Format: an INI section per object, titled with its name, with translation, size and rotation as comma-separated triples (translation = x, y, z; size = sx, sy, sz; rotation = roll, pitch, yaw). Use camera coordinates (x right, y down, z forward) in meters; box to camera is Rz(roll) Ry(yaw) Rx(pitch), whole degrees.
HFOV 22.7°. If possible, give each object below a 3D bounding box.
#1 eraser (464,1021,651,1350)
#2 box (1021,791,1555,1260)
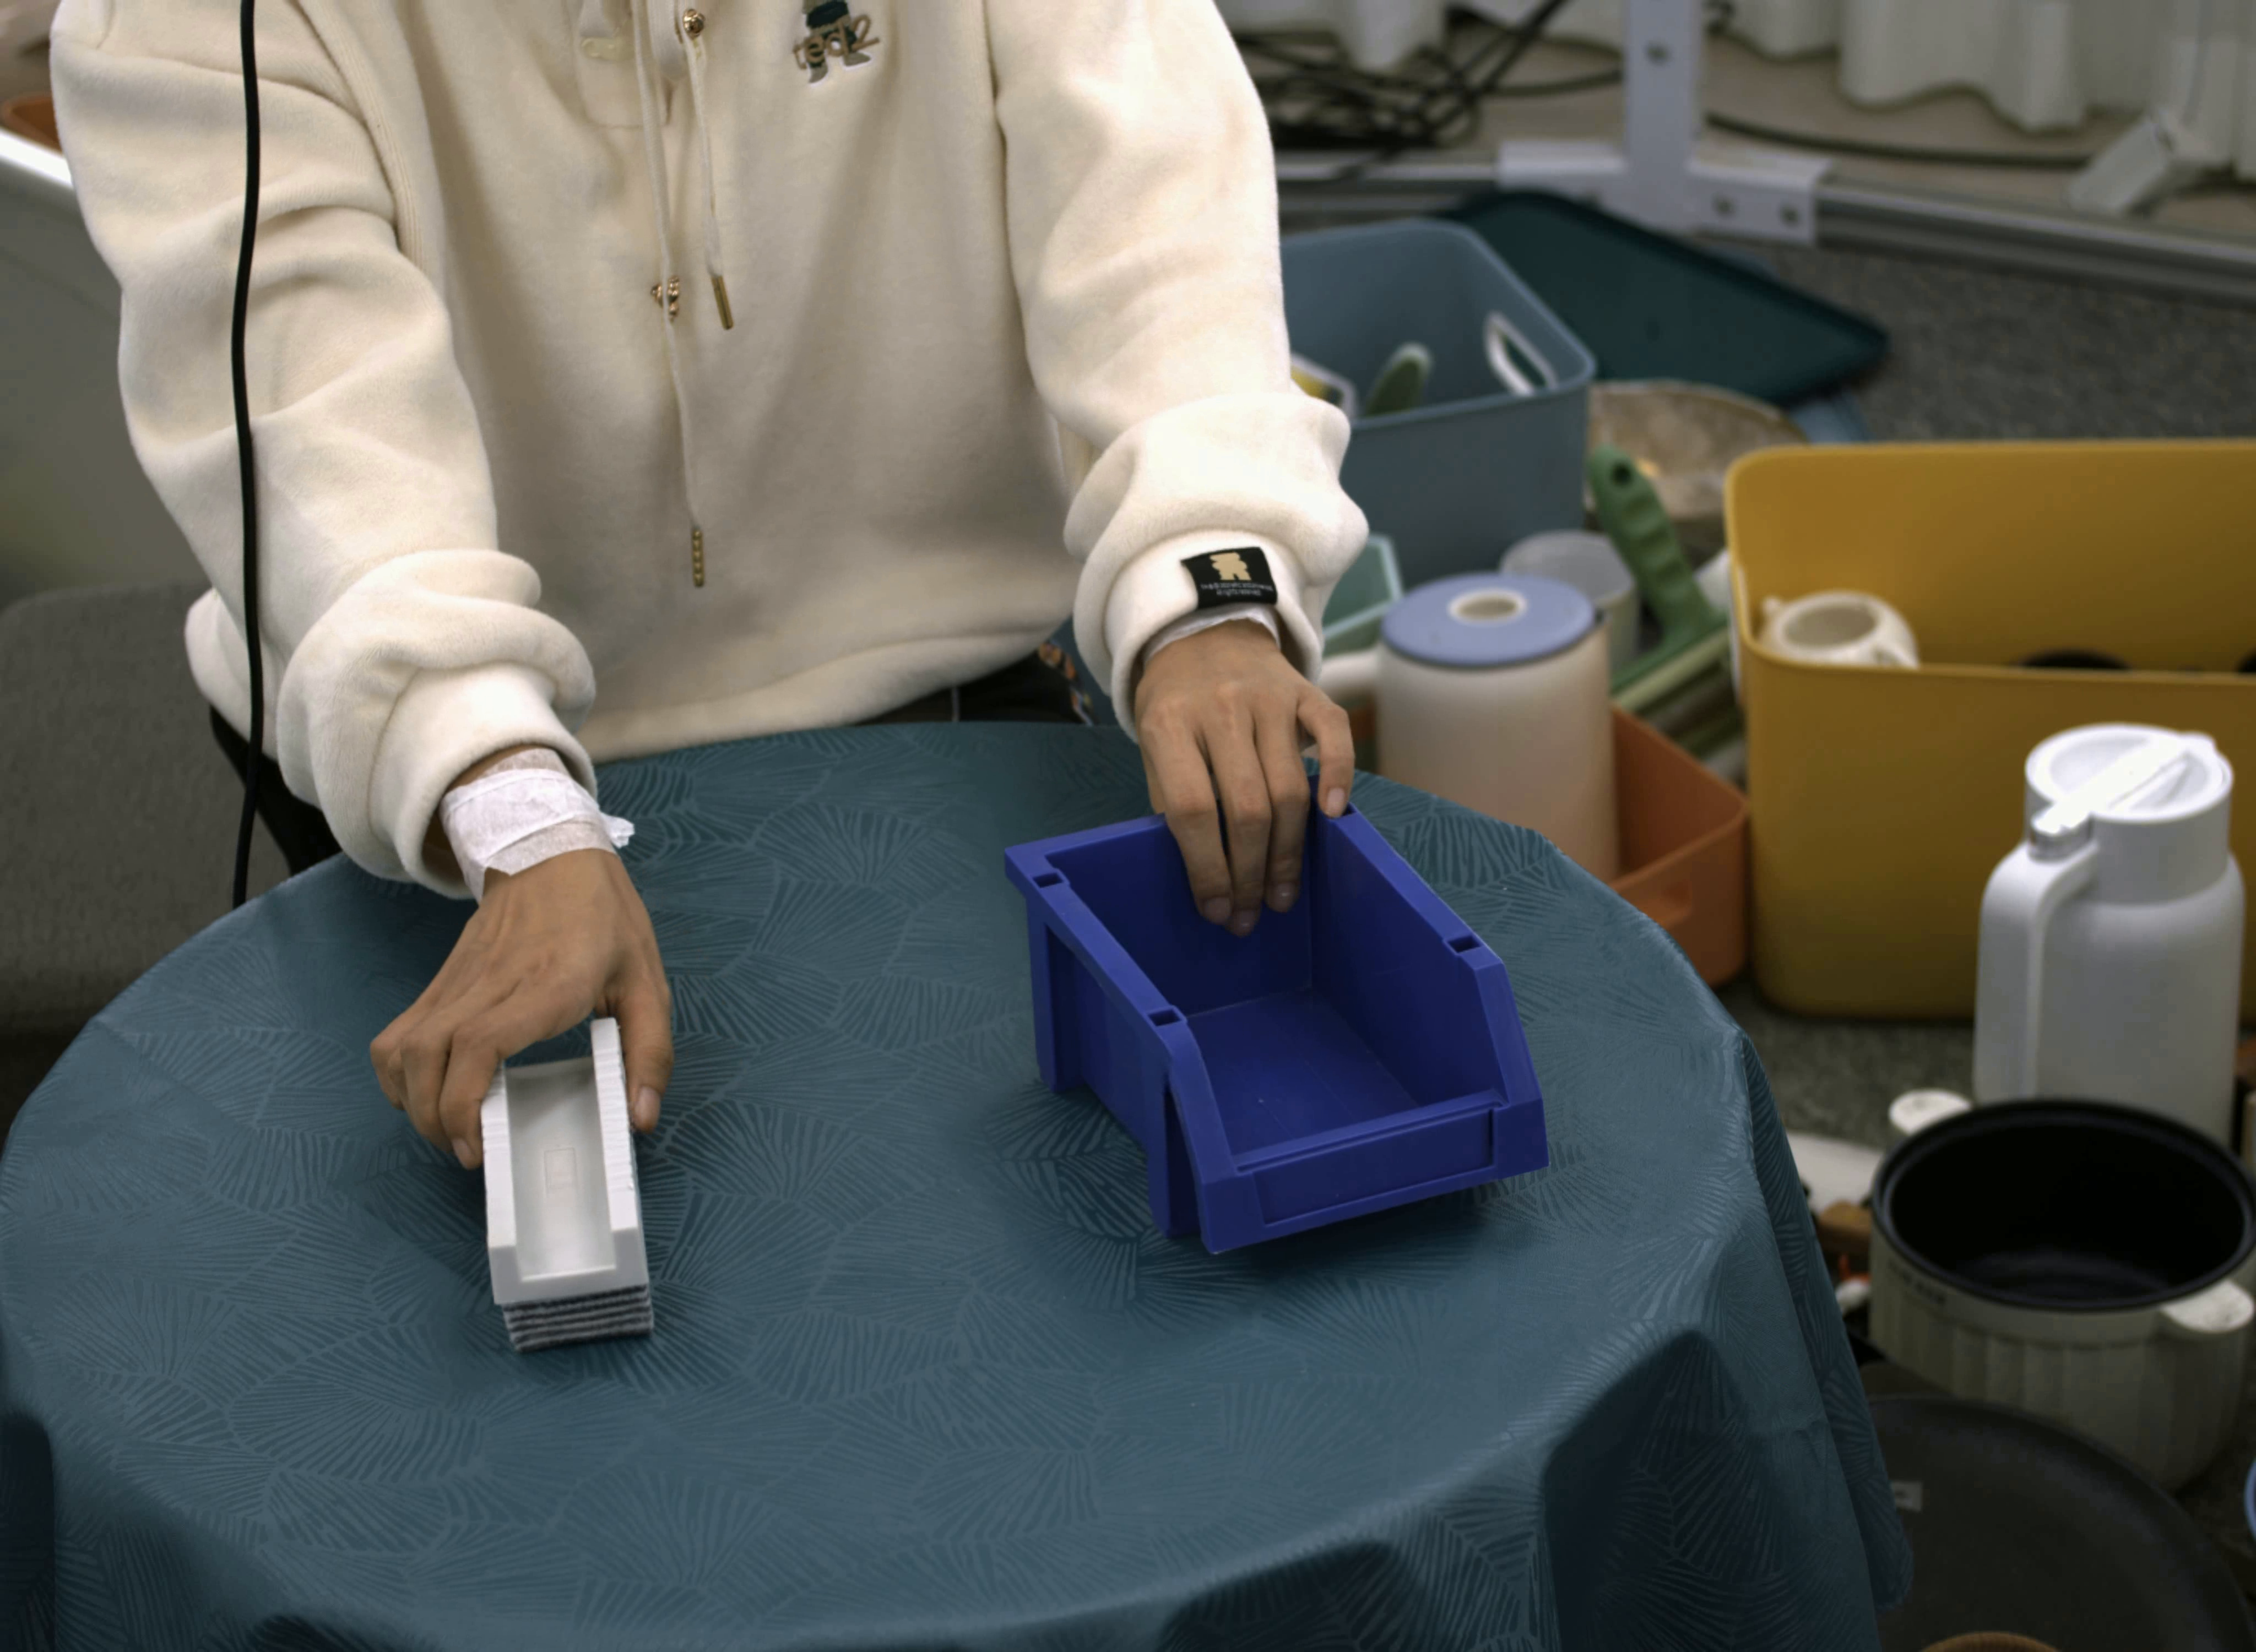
[eraser]
translation = -0.187, 0.117, 1.837
size = 0.049, 0.046, 0.136
rotation = -10, 29, -6
[box]
translation = 0.053, 0.070, 1.867
size = 0.125, 0.081, 0.181
rotation = -12, 26, -16
